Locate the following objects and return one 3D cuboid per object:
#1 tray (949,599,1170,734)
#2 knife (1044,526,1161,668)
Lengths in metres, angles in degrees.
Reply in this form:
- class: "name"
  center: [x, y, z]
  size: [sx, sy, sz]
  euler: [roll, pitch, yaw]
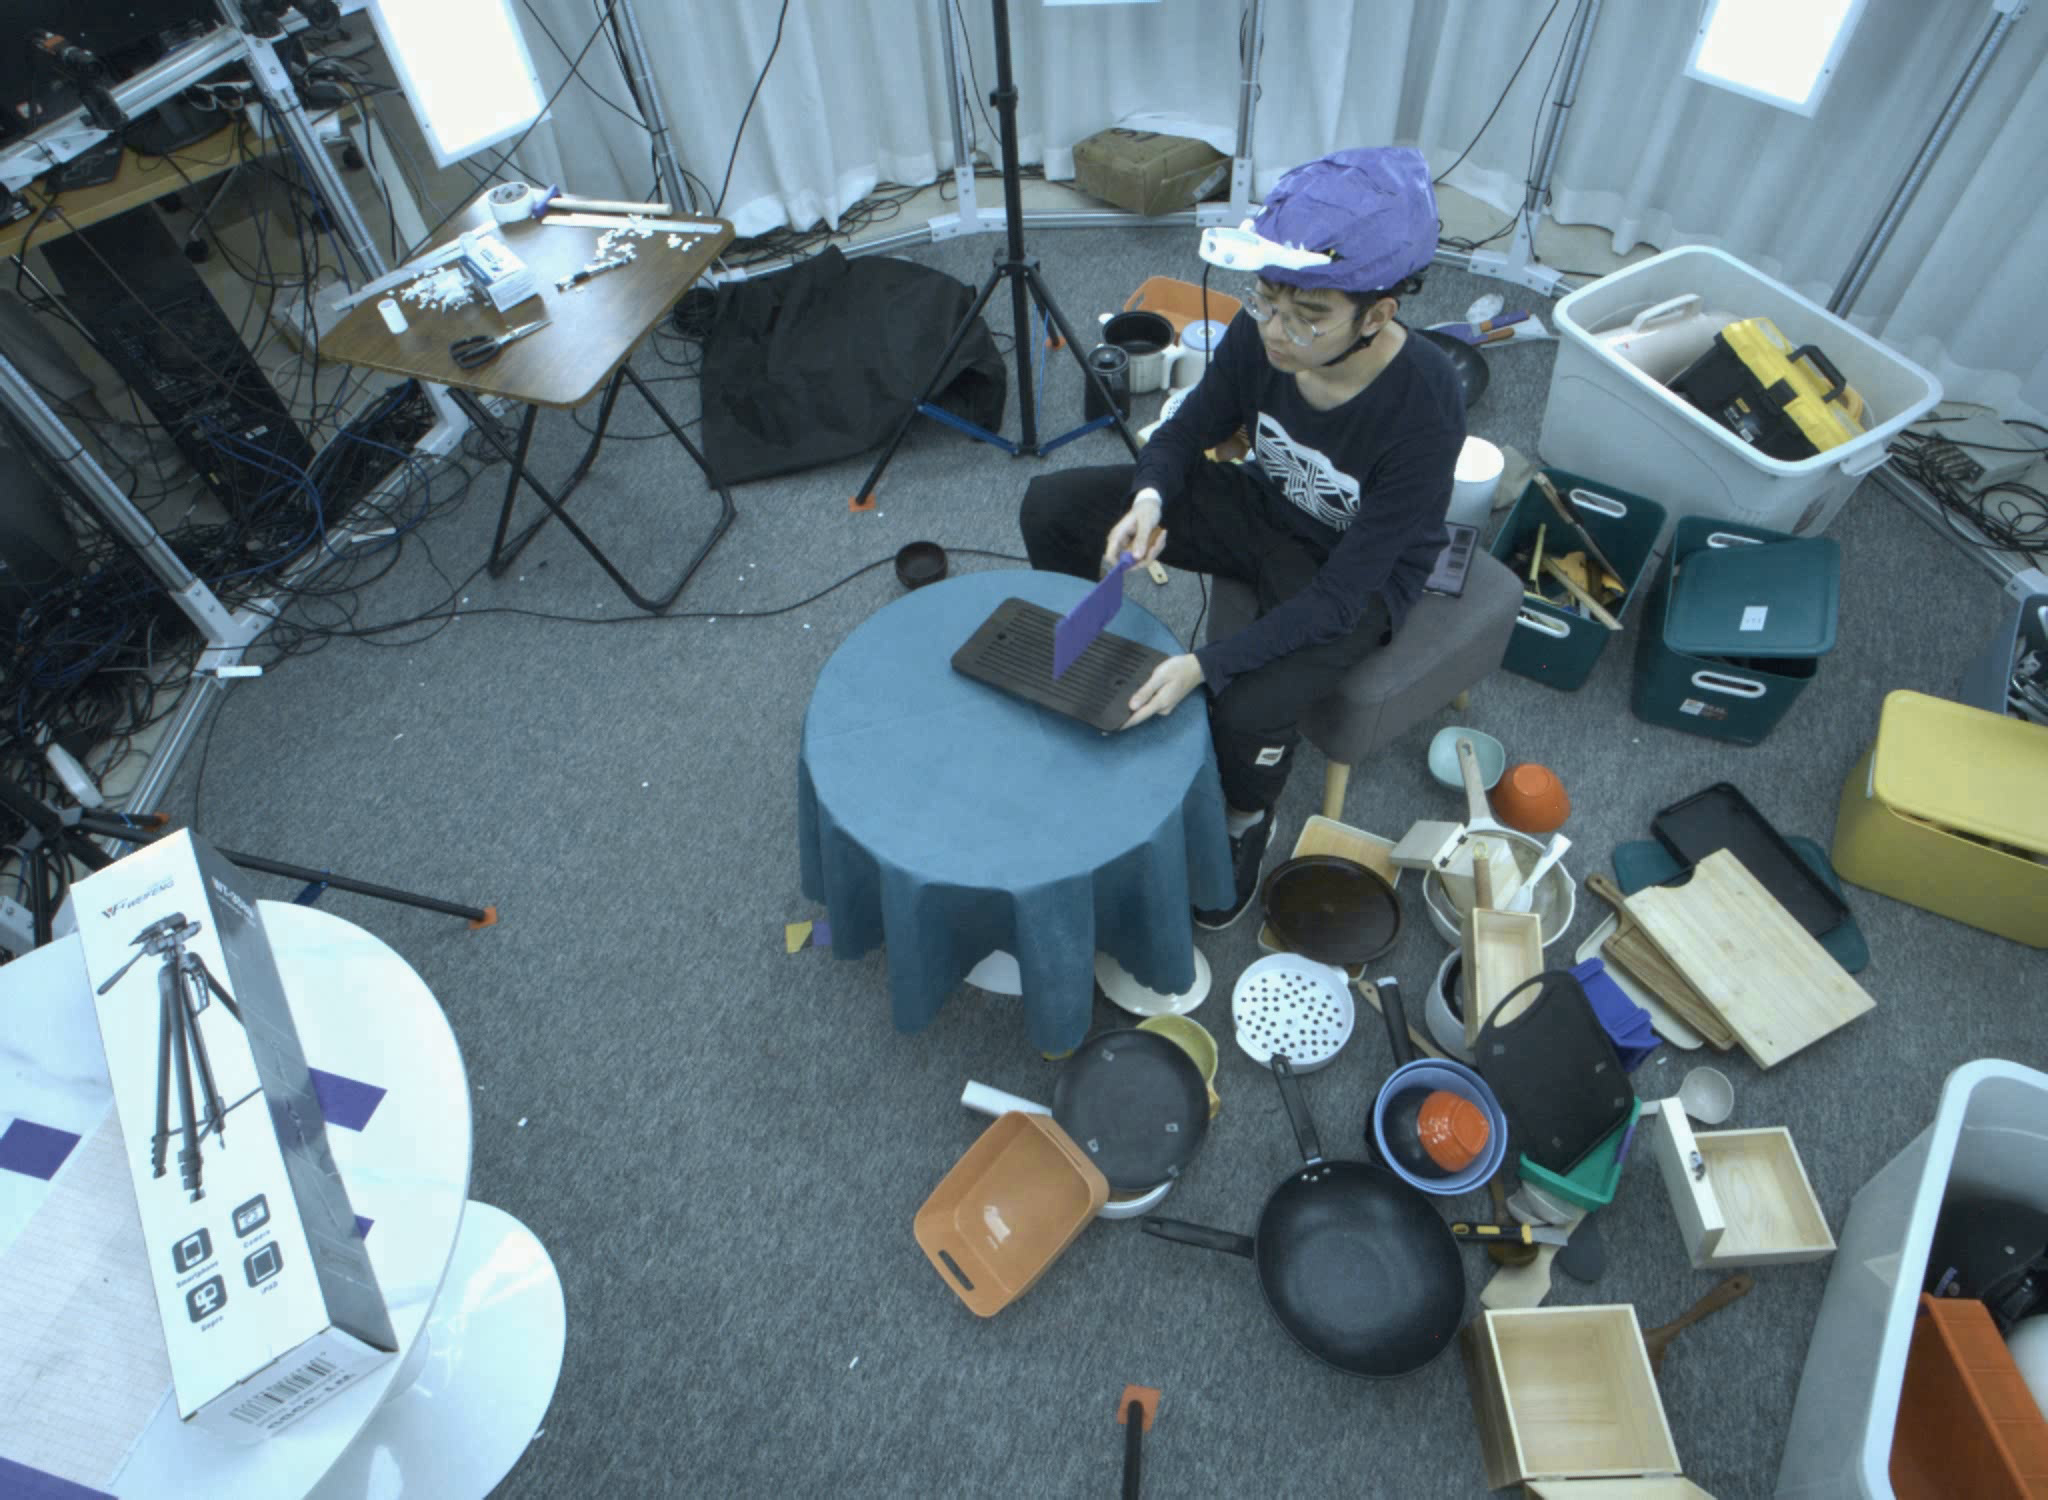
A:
- class: "tray"
  center: [0.051, -0.129, 1.855]
  size: [0.300, 0.019, 0.171]
  euler: [24, 58, 26]
- class: "knife"
  center: [0.113, -0.227, 1.801]
  size: [0.031, 0.105, 0.317]
  euler: [25, 45, 22]
